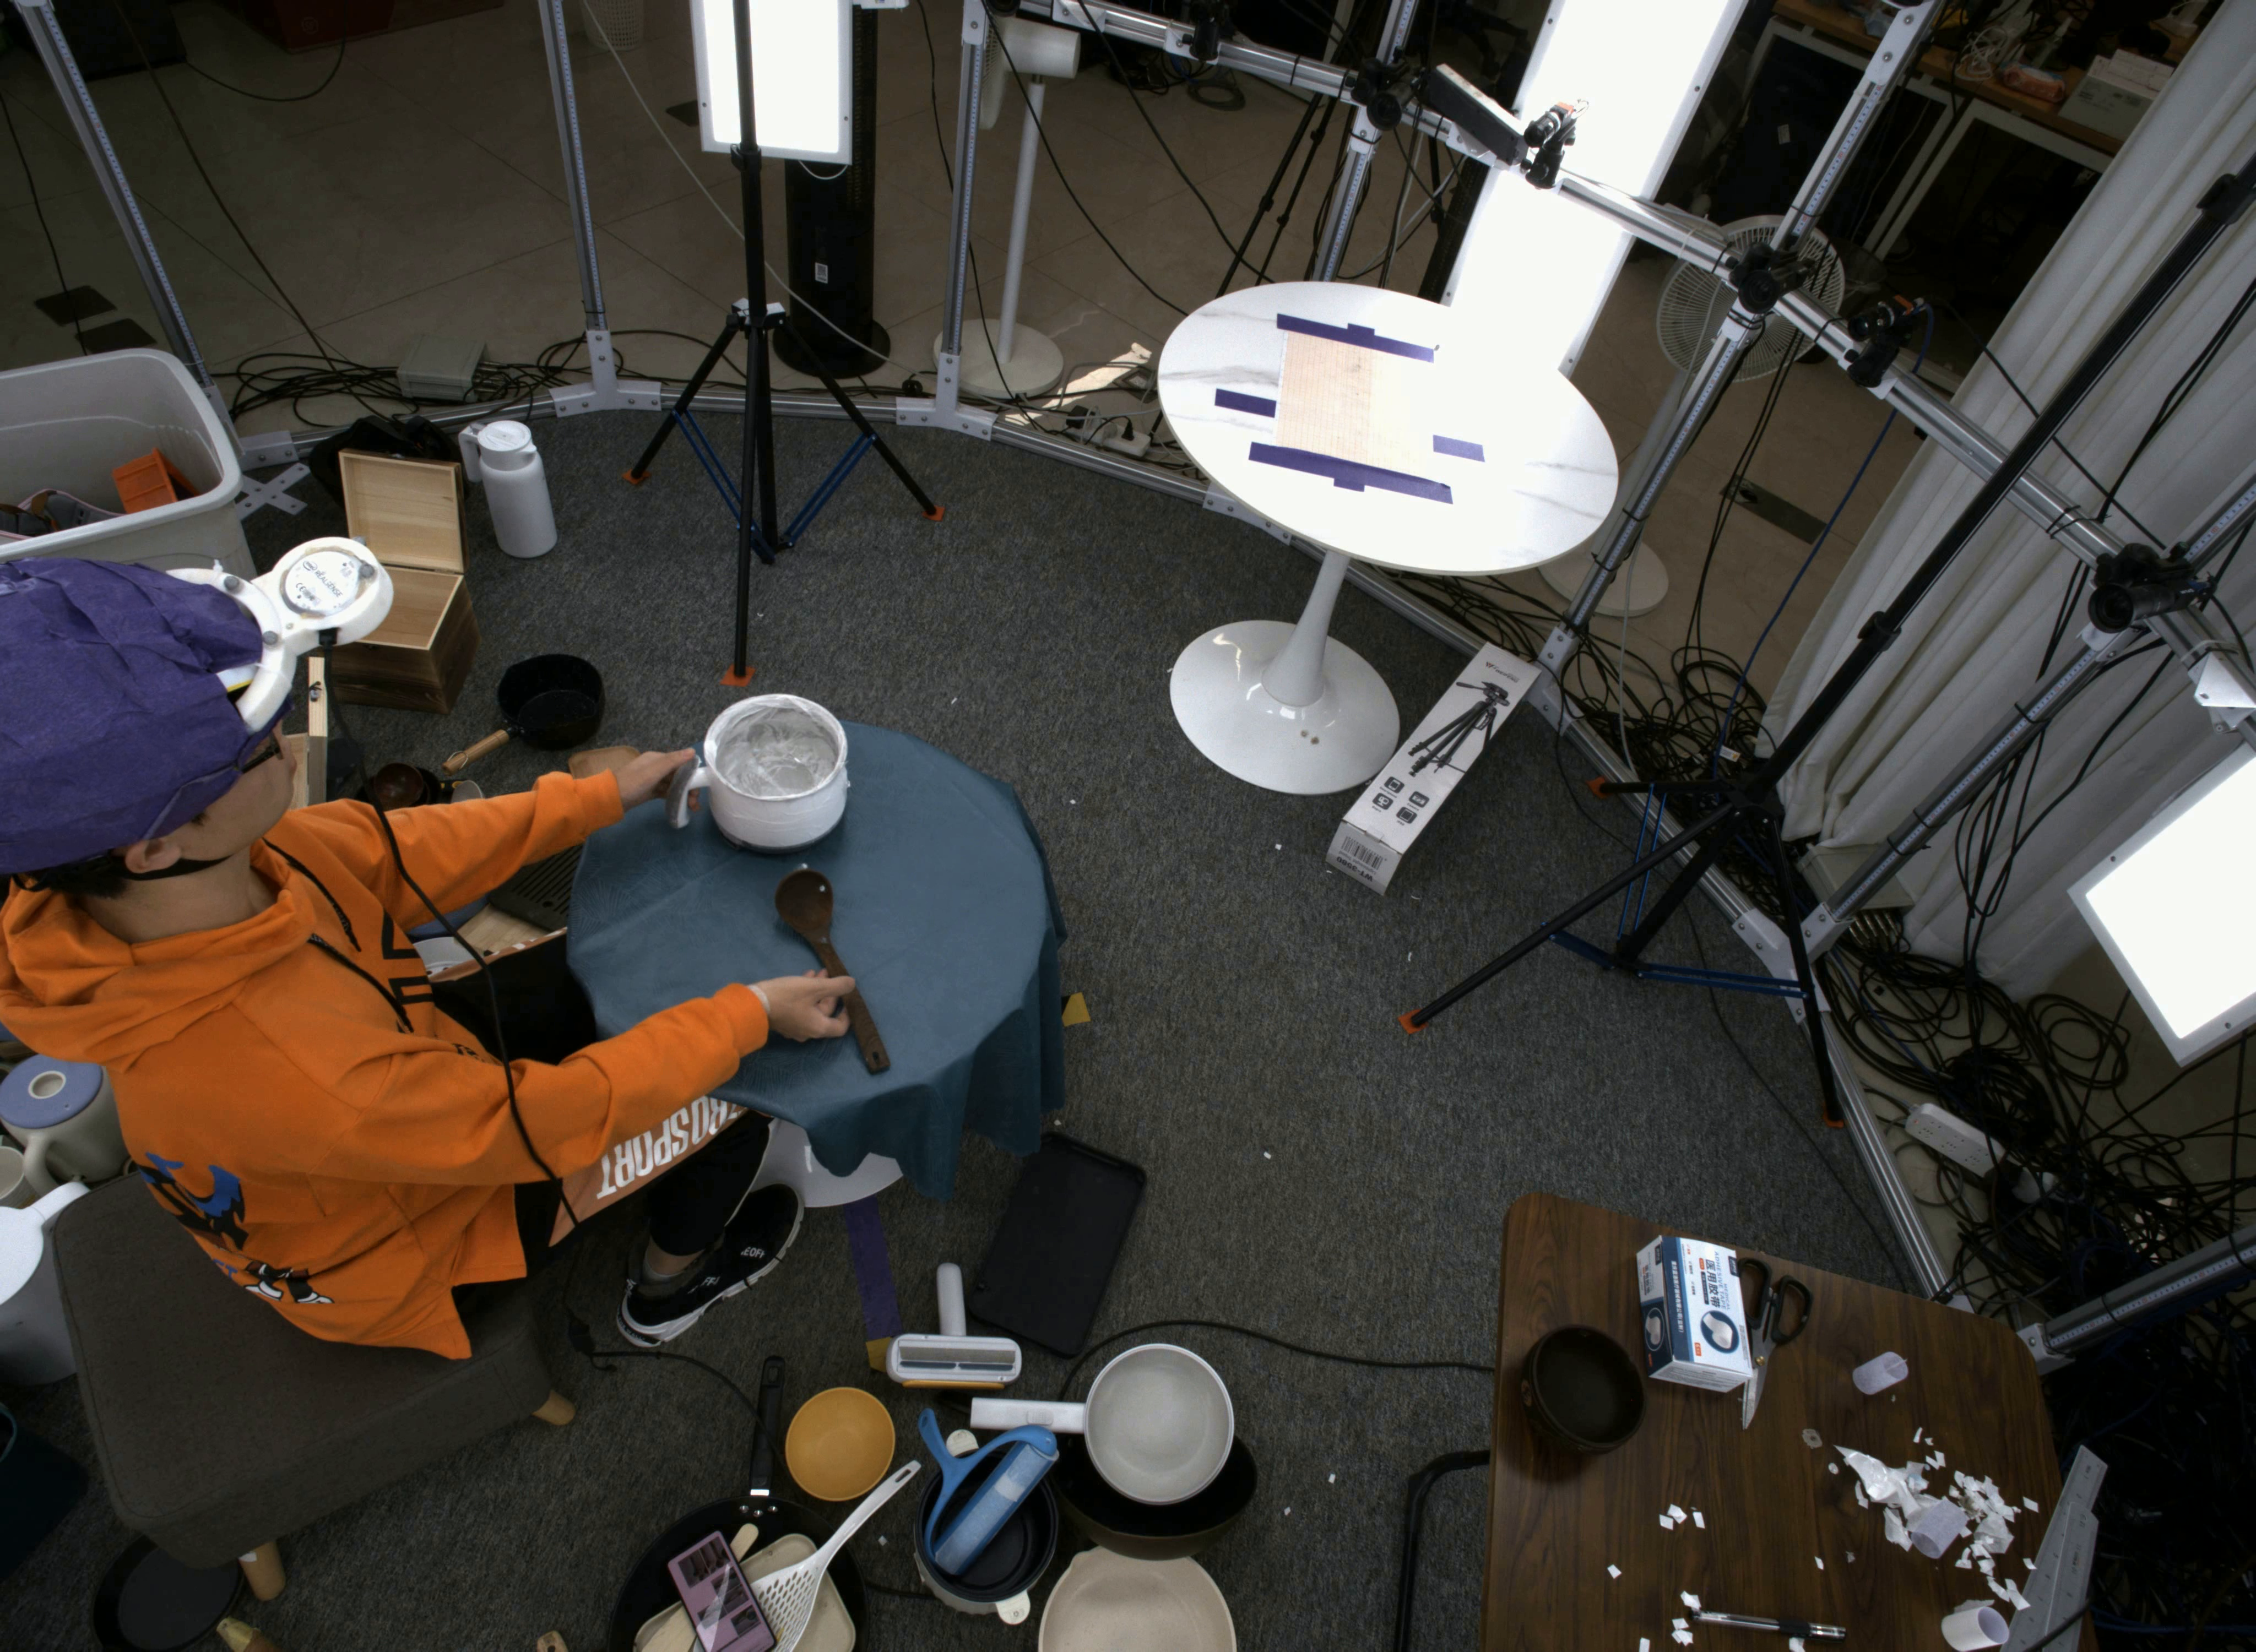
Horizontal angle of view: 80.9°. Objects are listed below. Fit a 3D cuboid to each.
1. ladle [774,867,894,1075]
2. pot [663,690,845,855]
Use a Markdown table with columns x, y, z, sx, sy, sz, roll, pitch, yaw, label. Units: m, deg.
| x | y | z | sx | sy | sz | roll | pitch | yaw | label |
| --- | --- | --- | --- | --- | --- | --- | --- | --- | --- |
| -0.349 | 0.167 | 1.563 | 0.076 | 0.073 | 0.267 | -21 | 61 | -25 | ladle |
| -0.479 | -0.059 | 1.654 | 0.235 | 0.139 | 0.174 | -14 | 57 | -24 | pot |
